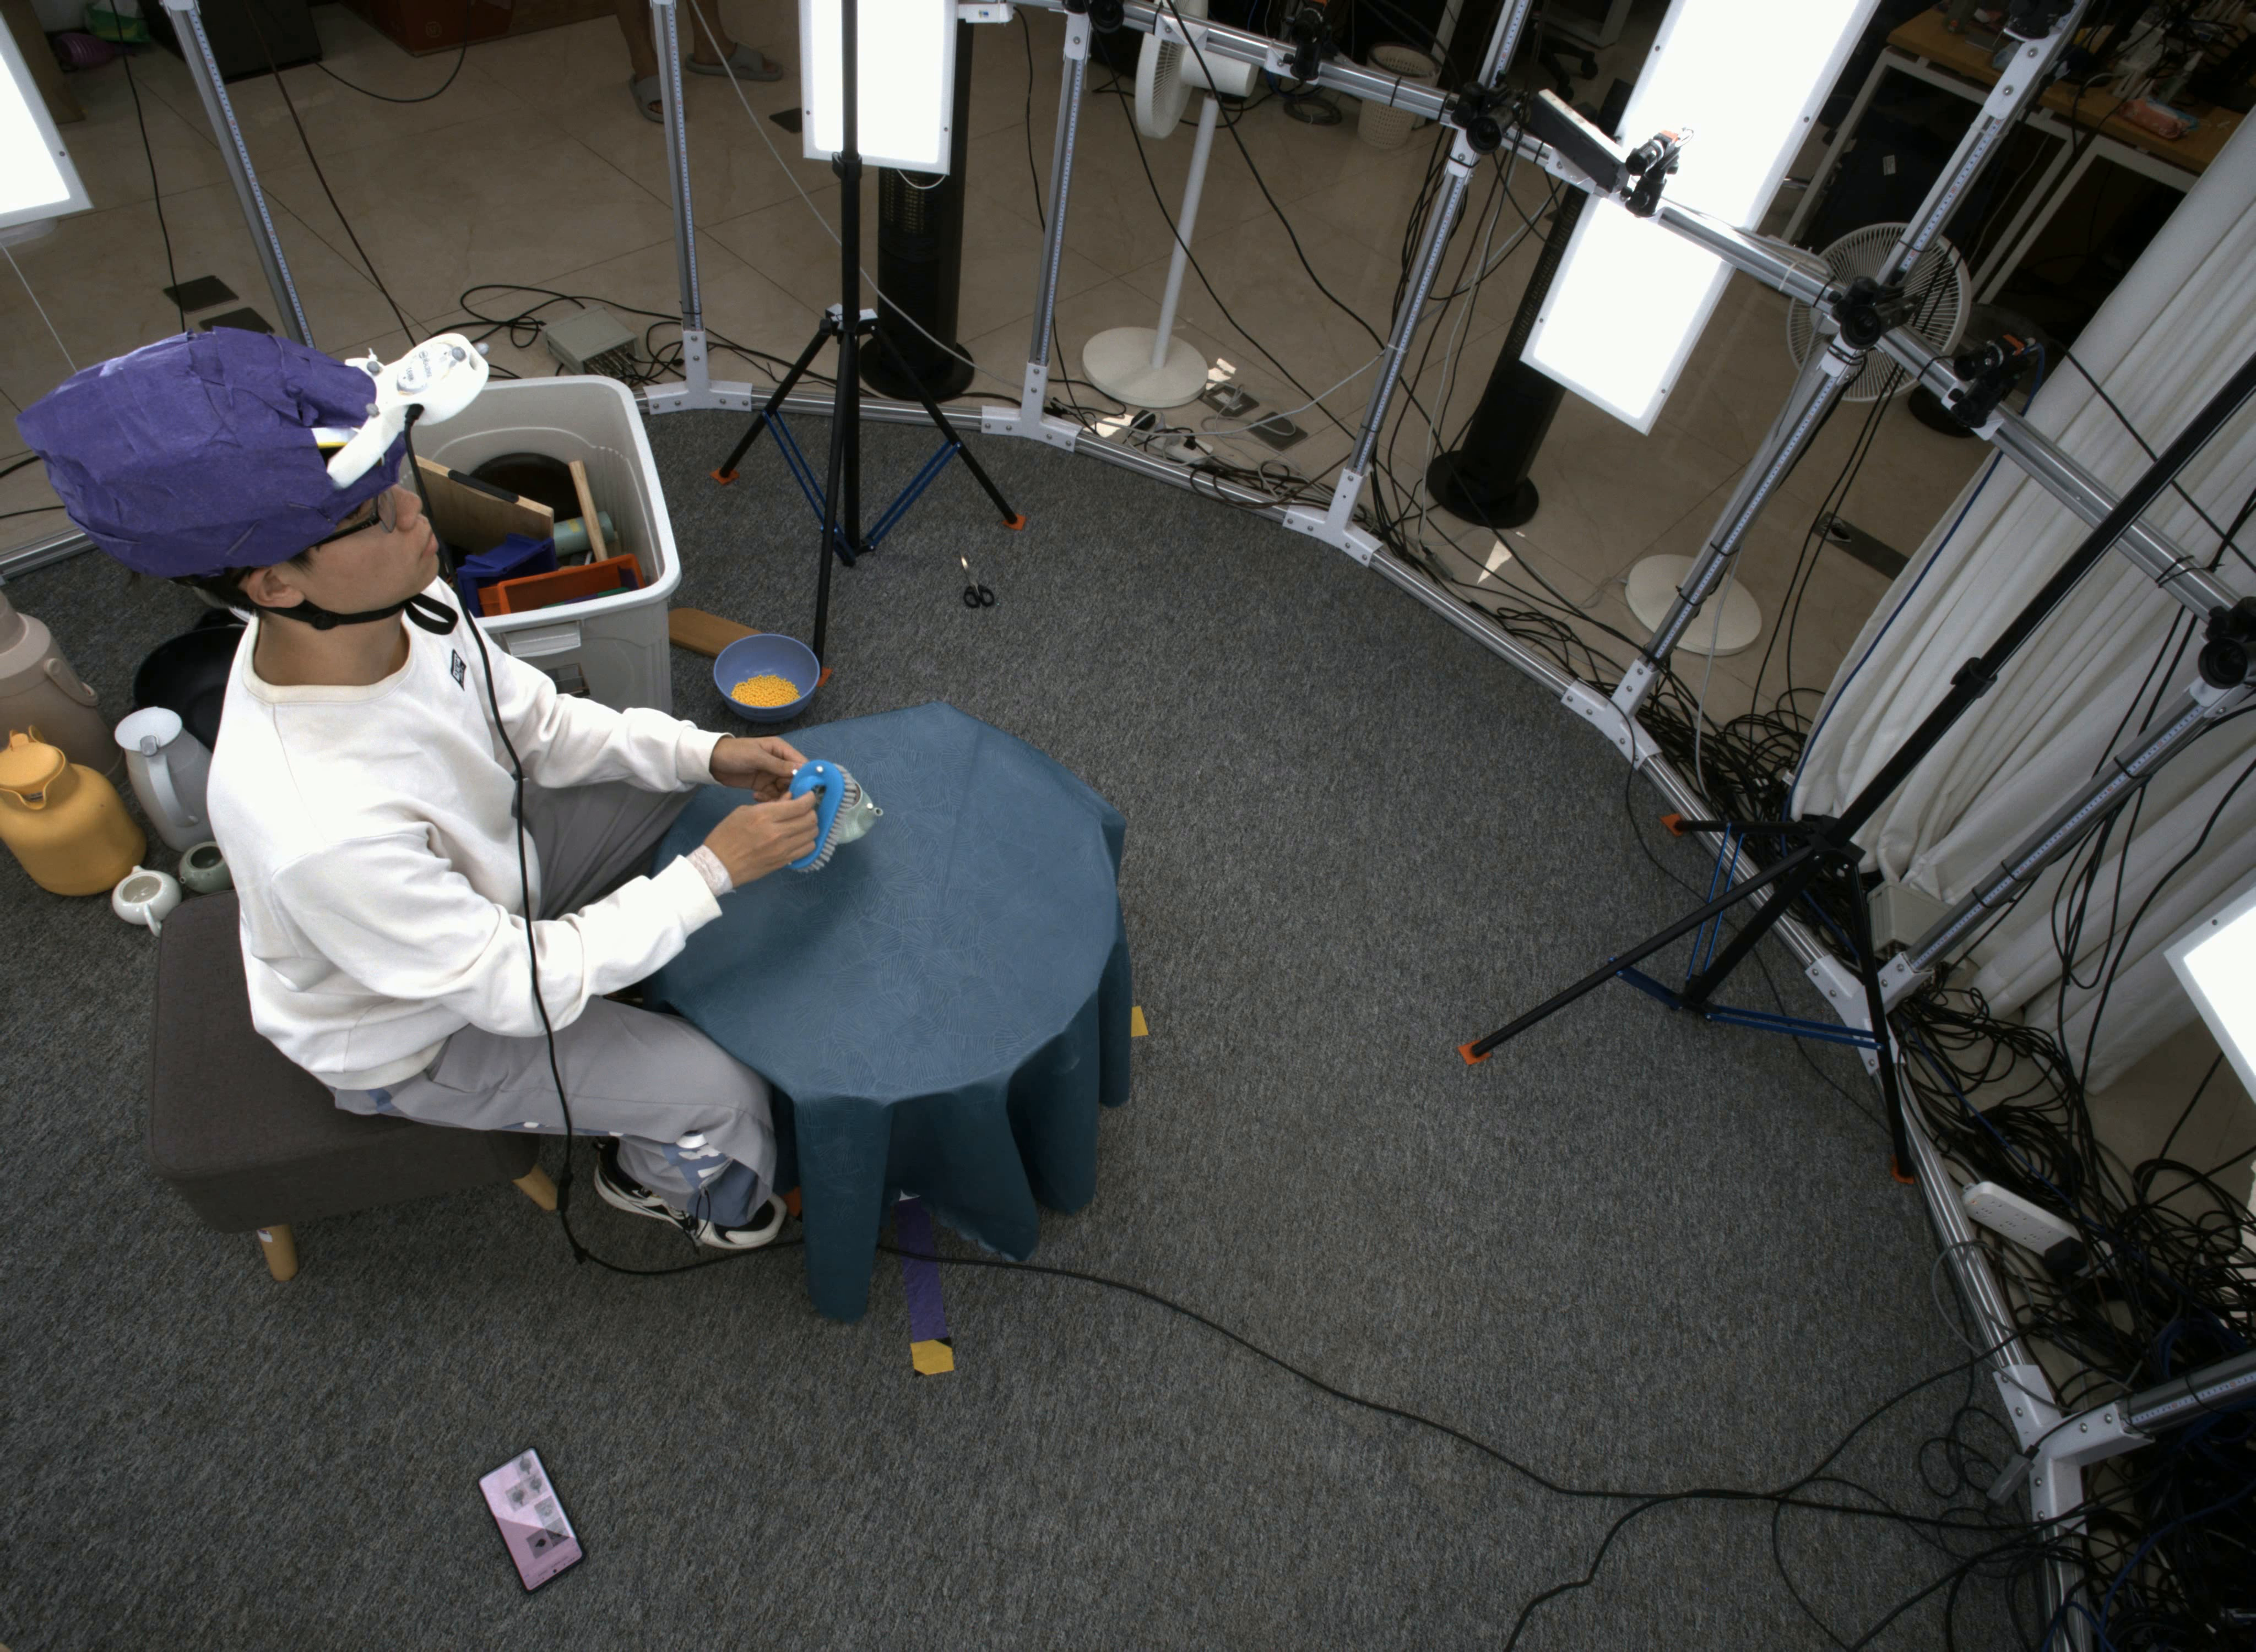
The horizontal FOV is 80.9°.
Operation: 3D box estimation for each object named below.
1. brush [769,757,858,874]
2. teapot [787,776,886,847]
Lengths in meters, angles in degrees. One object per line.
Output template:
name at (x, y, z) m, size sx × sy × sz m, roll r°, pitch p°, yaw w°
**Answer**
brush at (-0.388, -0.013, 1.566) m, size 0.082 × 0.064 × 0.143 m, roll 21°, pitch 91°, yaw 12°
teapot at (-0.373, -0.025, 1.657) m, size 0.135 × 0.062 × 0.095 m, roll 23°, pitch 53°, yaw 4°
